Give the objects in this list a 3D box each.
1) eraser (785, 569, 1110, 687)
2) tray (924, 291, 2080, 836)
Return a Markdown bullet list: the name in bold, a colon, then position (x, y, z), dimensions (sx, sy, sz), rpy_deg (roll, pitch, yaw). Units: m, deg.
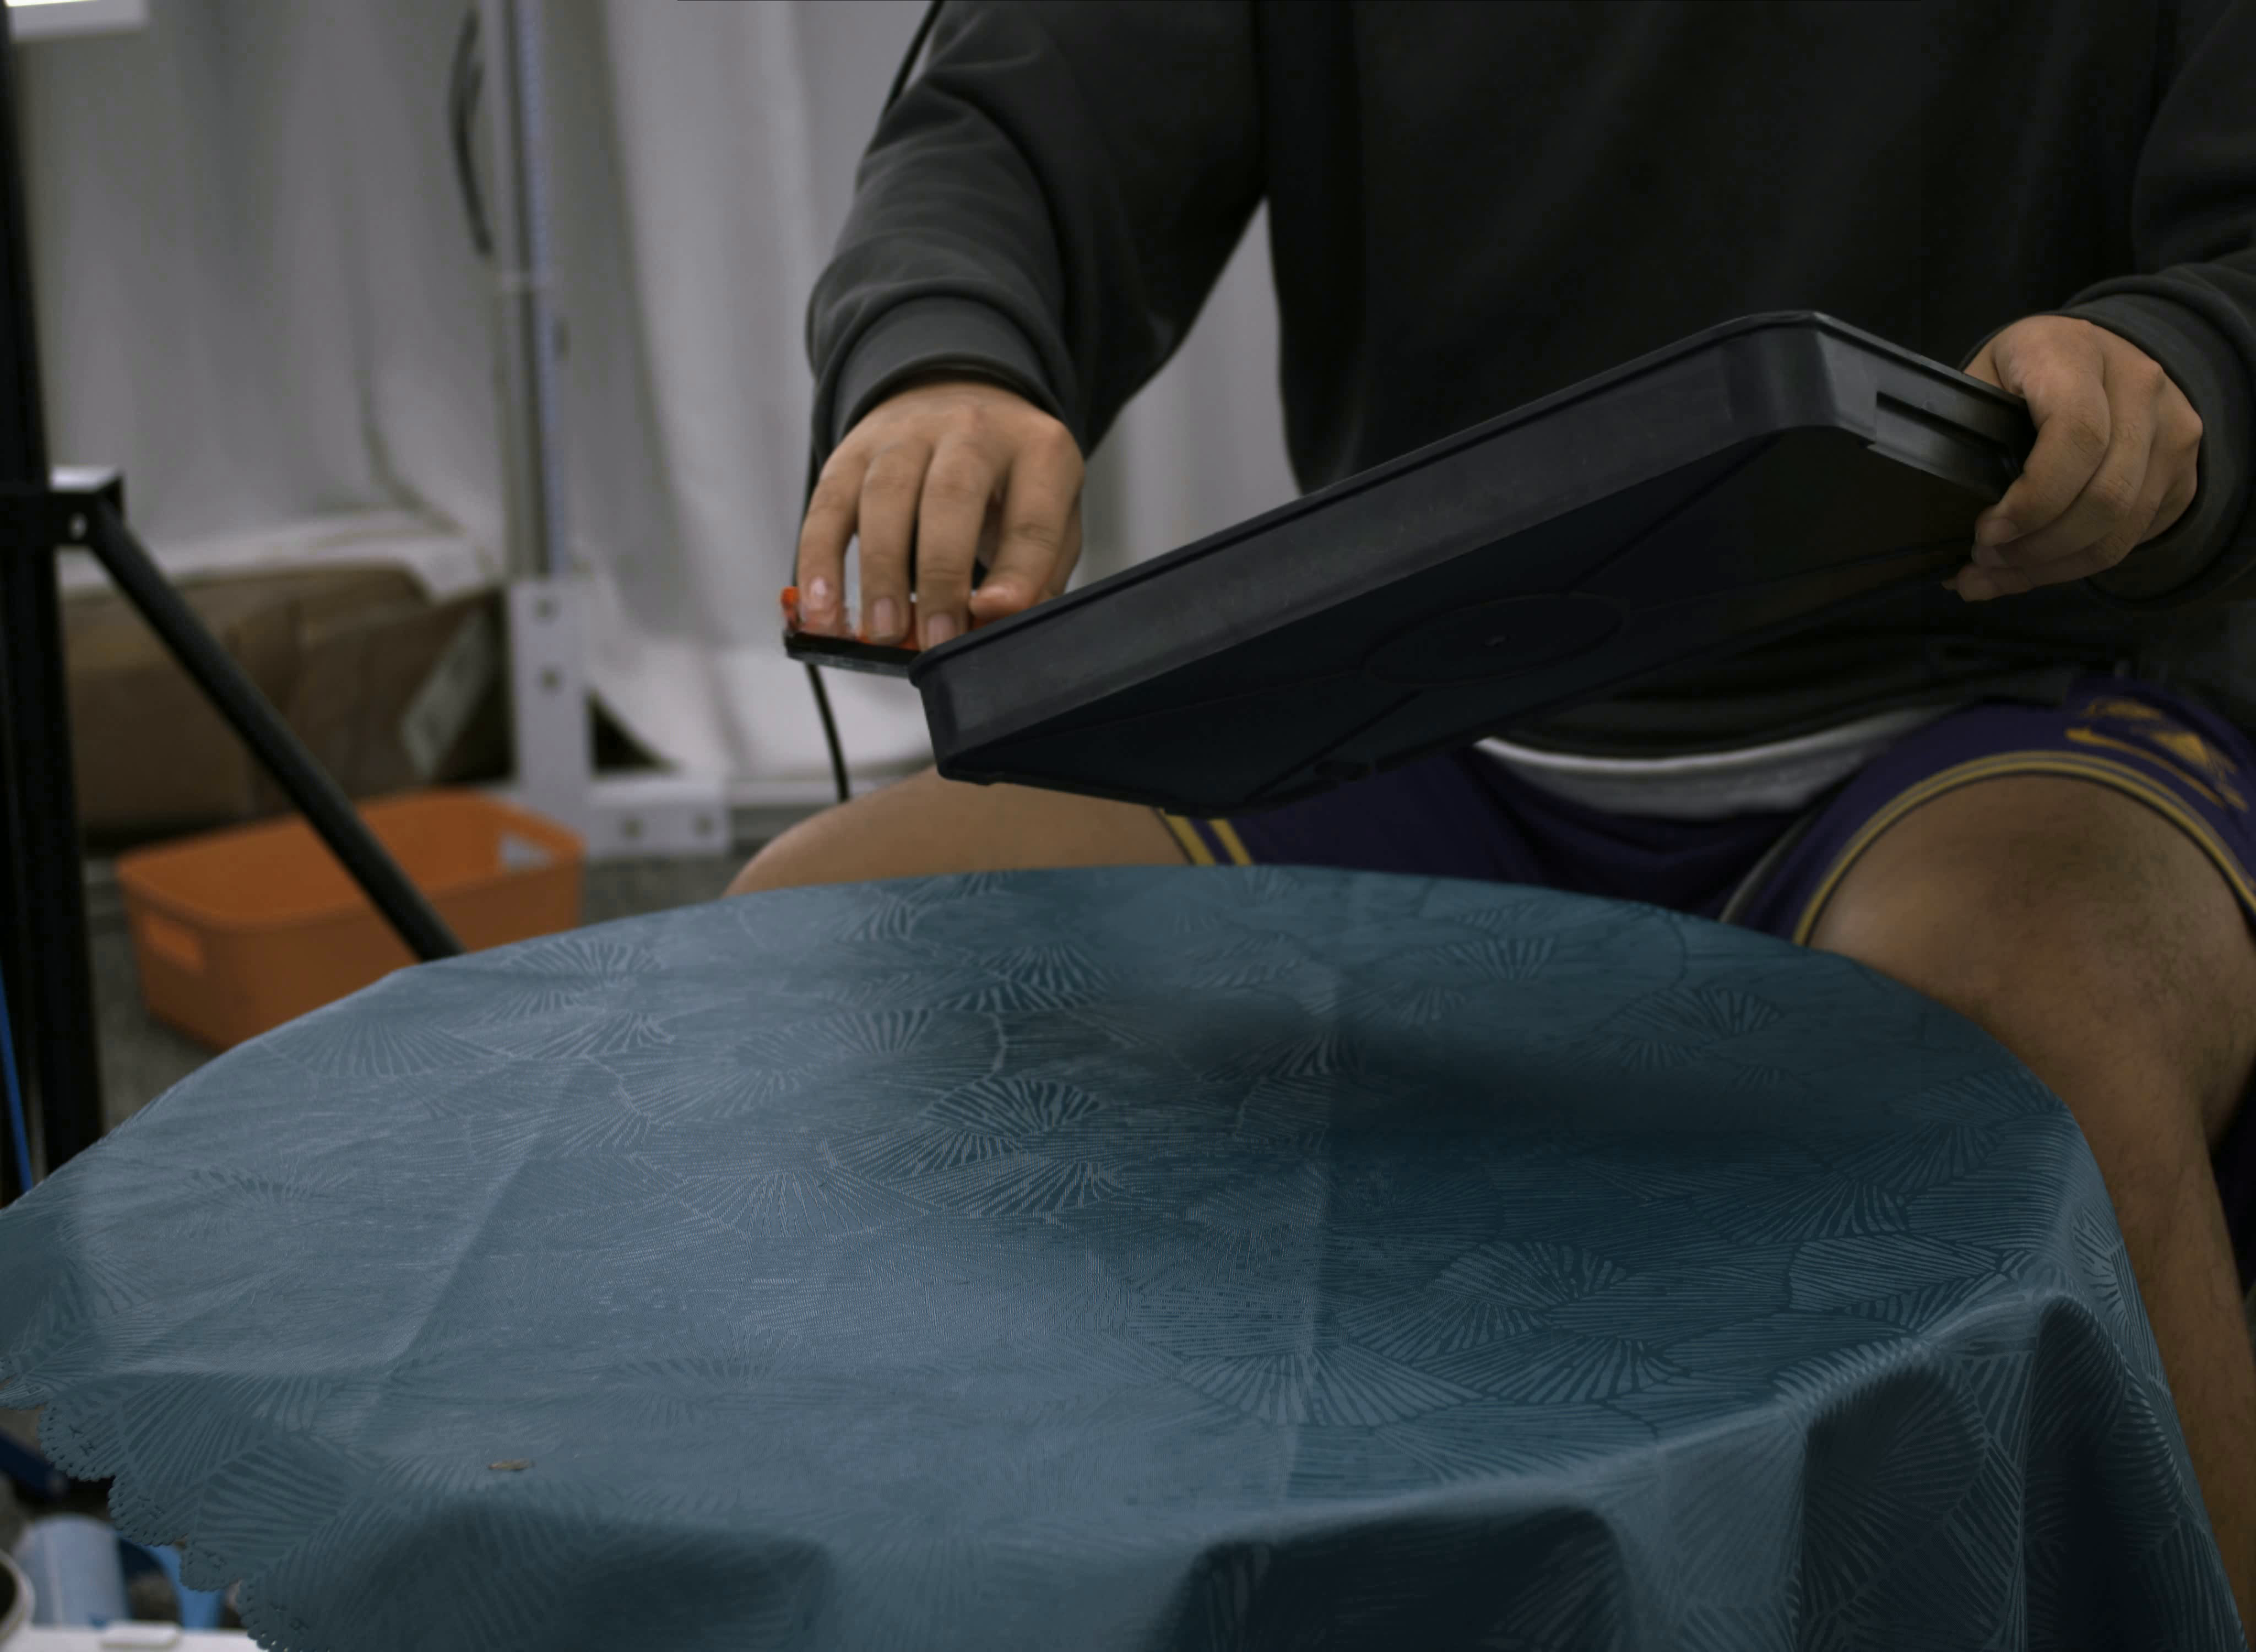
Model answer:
- **eraser**: position (-0.049, -0.058, 1.659), dimensions (0.109, 0.023, 0.058), rpy_deg (7, -9, 23)
- **tray**: position (0.111, -0.070, 1.580), dimensions (0.322, 0.037, 0.179), rpy_deg (-21, -19, 31)
